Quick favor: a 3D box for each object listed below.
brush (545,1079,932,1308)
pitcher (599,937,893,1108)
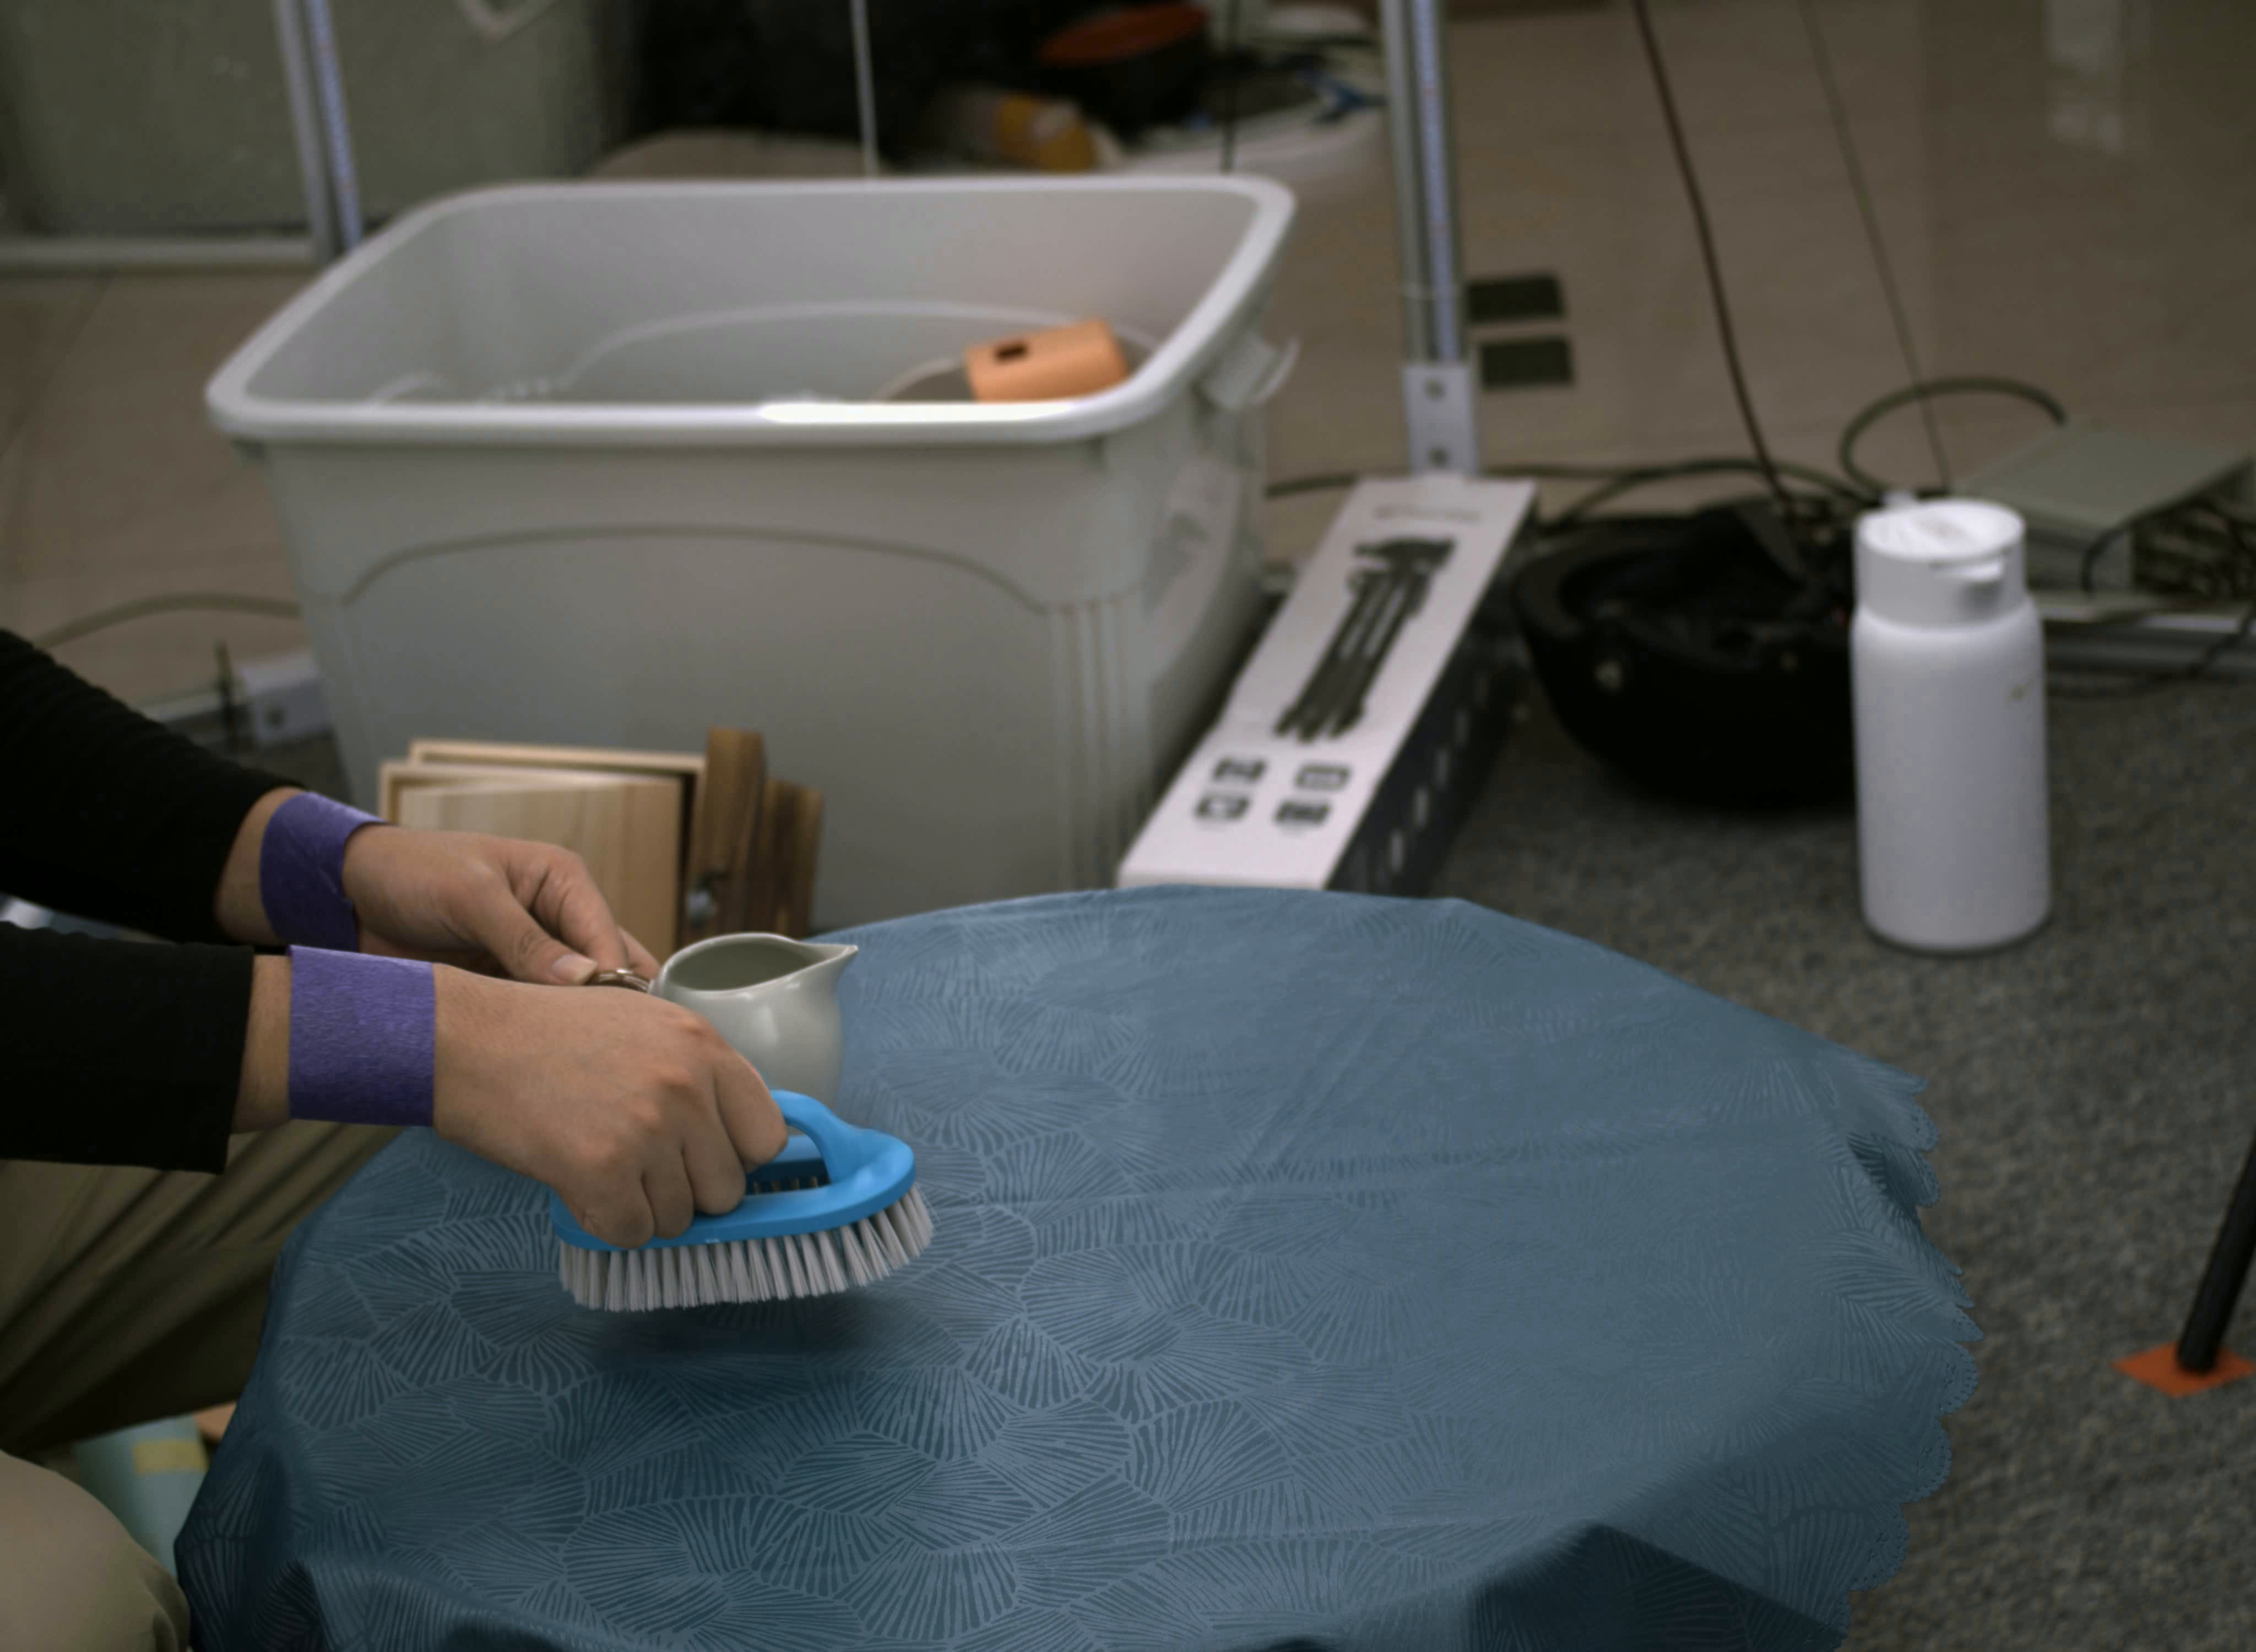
[{"bbox_3d":[-0.146,0.126,2.061,0.141,0.065,0.083,-7,26,14],"label":"brush"},{"bbox_3d":[-0.147,0.088,2.188,0.119,0.089,0.075,4,22,14],"label":"pitcher"}]
